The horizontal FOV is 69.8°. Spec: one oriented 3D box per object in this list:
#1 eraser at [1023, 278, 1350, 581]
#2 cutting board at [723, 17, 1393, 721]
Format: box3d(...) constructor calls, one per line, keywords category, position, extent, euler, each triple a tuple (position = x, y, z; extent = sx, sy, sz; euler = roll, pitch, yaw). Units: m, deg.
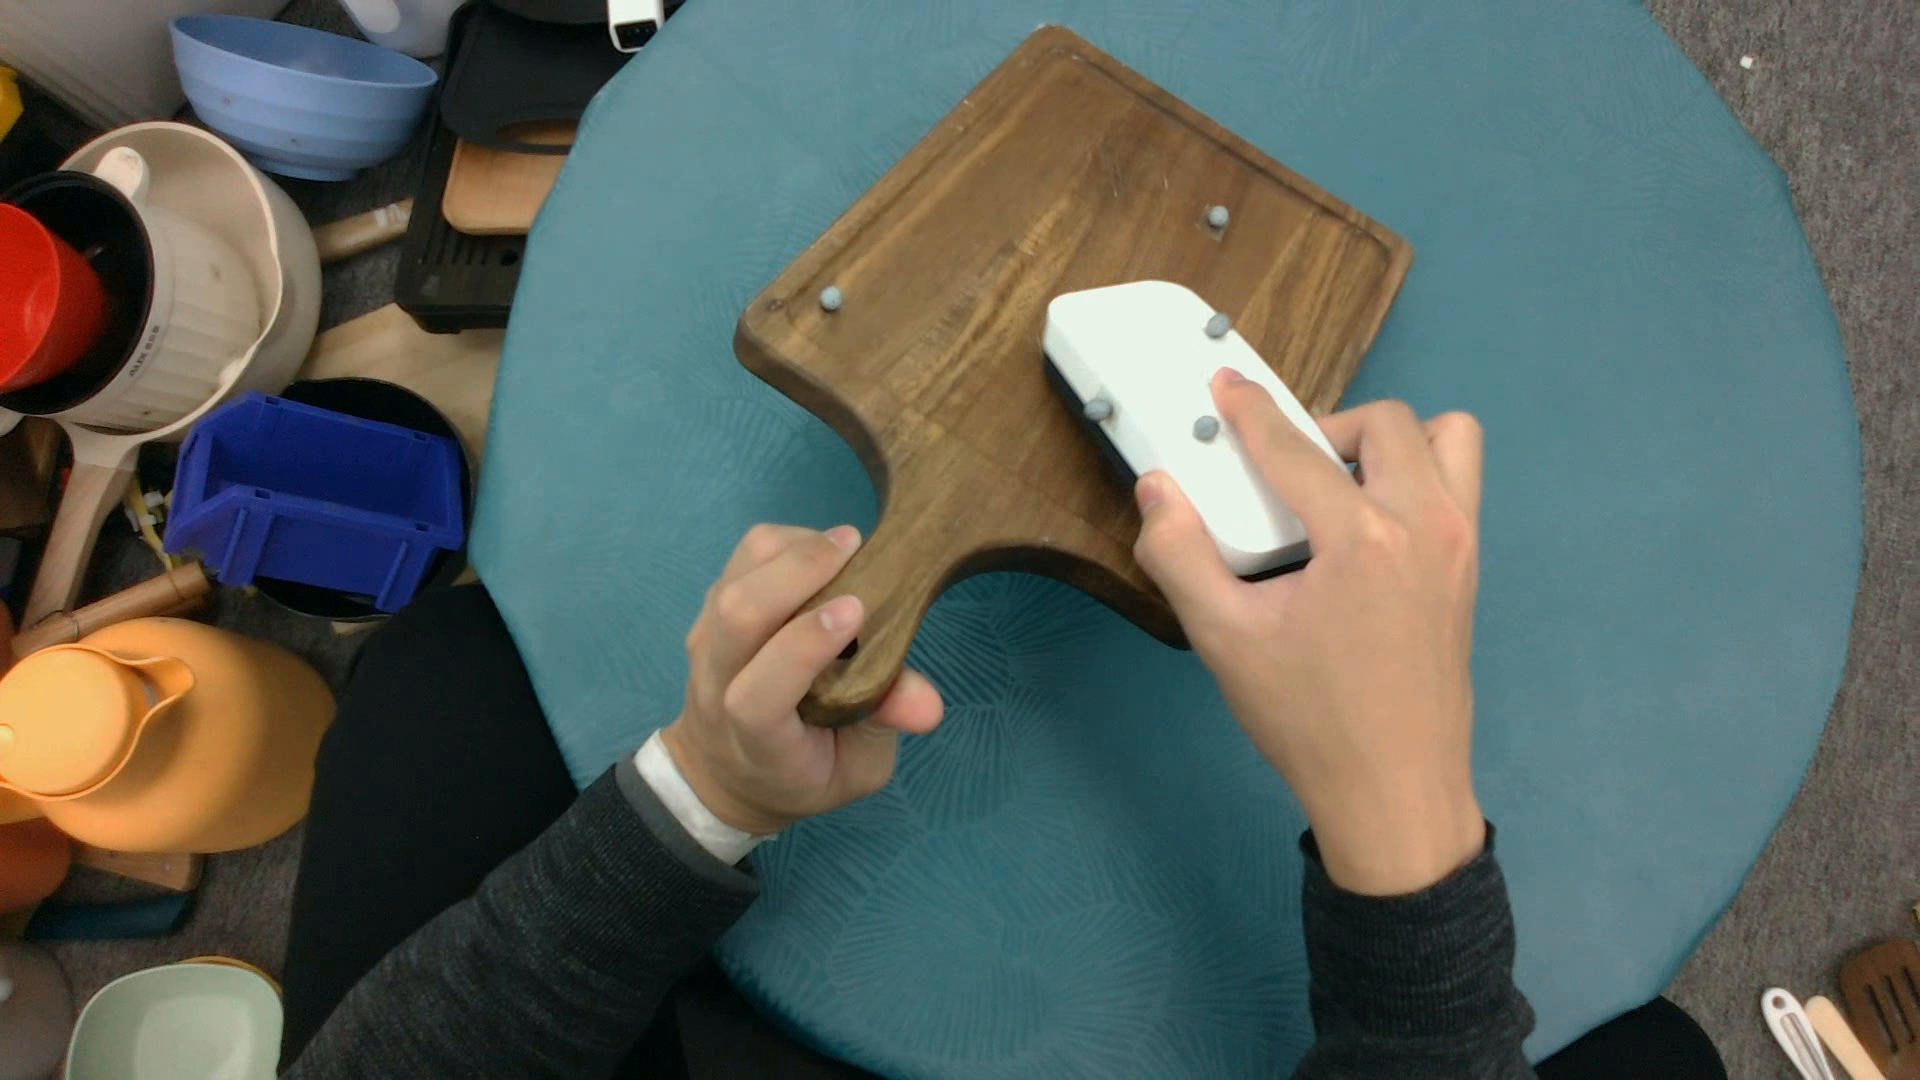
box3d(category="eraser", position=(0.073, -0.044, 0.472), extent=(0.063, 0.034, 0.131), euler=(-14, 51, -26))
box3d(category="cutting board", position=(0.032, -0.069, 0.514), extent=(0.201, 0.023, 0.354), euler=(32, 52, 3))
